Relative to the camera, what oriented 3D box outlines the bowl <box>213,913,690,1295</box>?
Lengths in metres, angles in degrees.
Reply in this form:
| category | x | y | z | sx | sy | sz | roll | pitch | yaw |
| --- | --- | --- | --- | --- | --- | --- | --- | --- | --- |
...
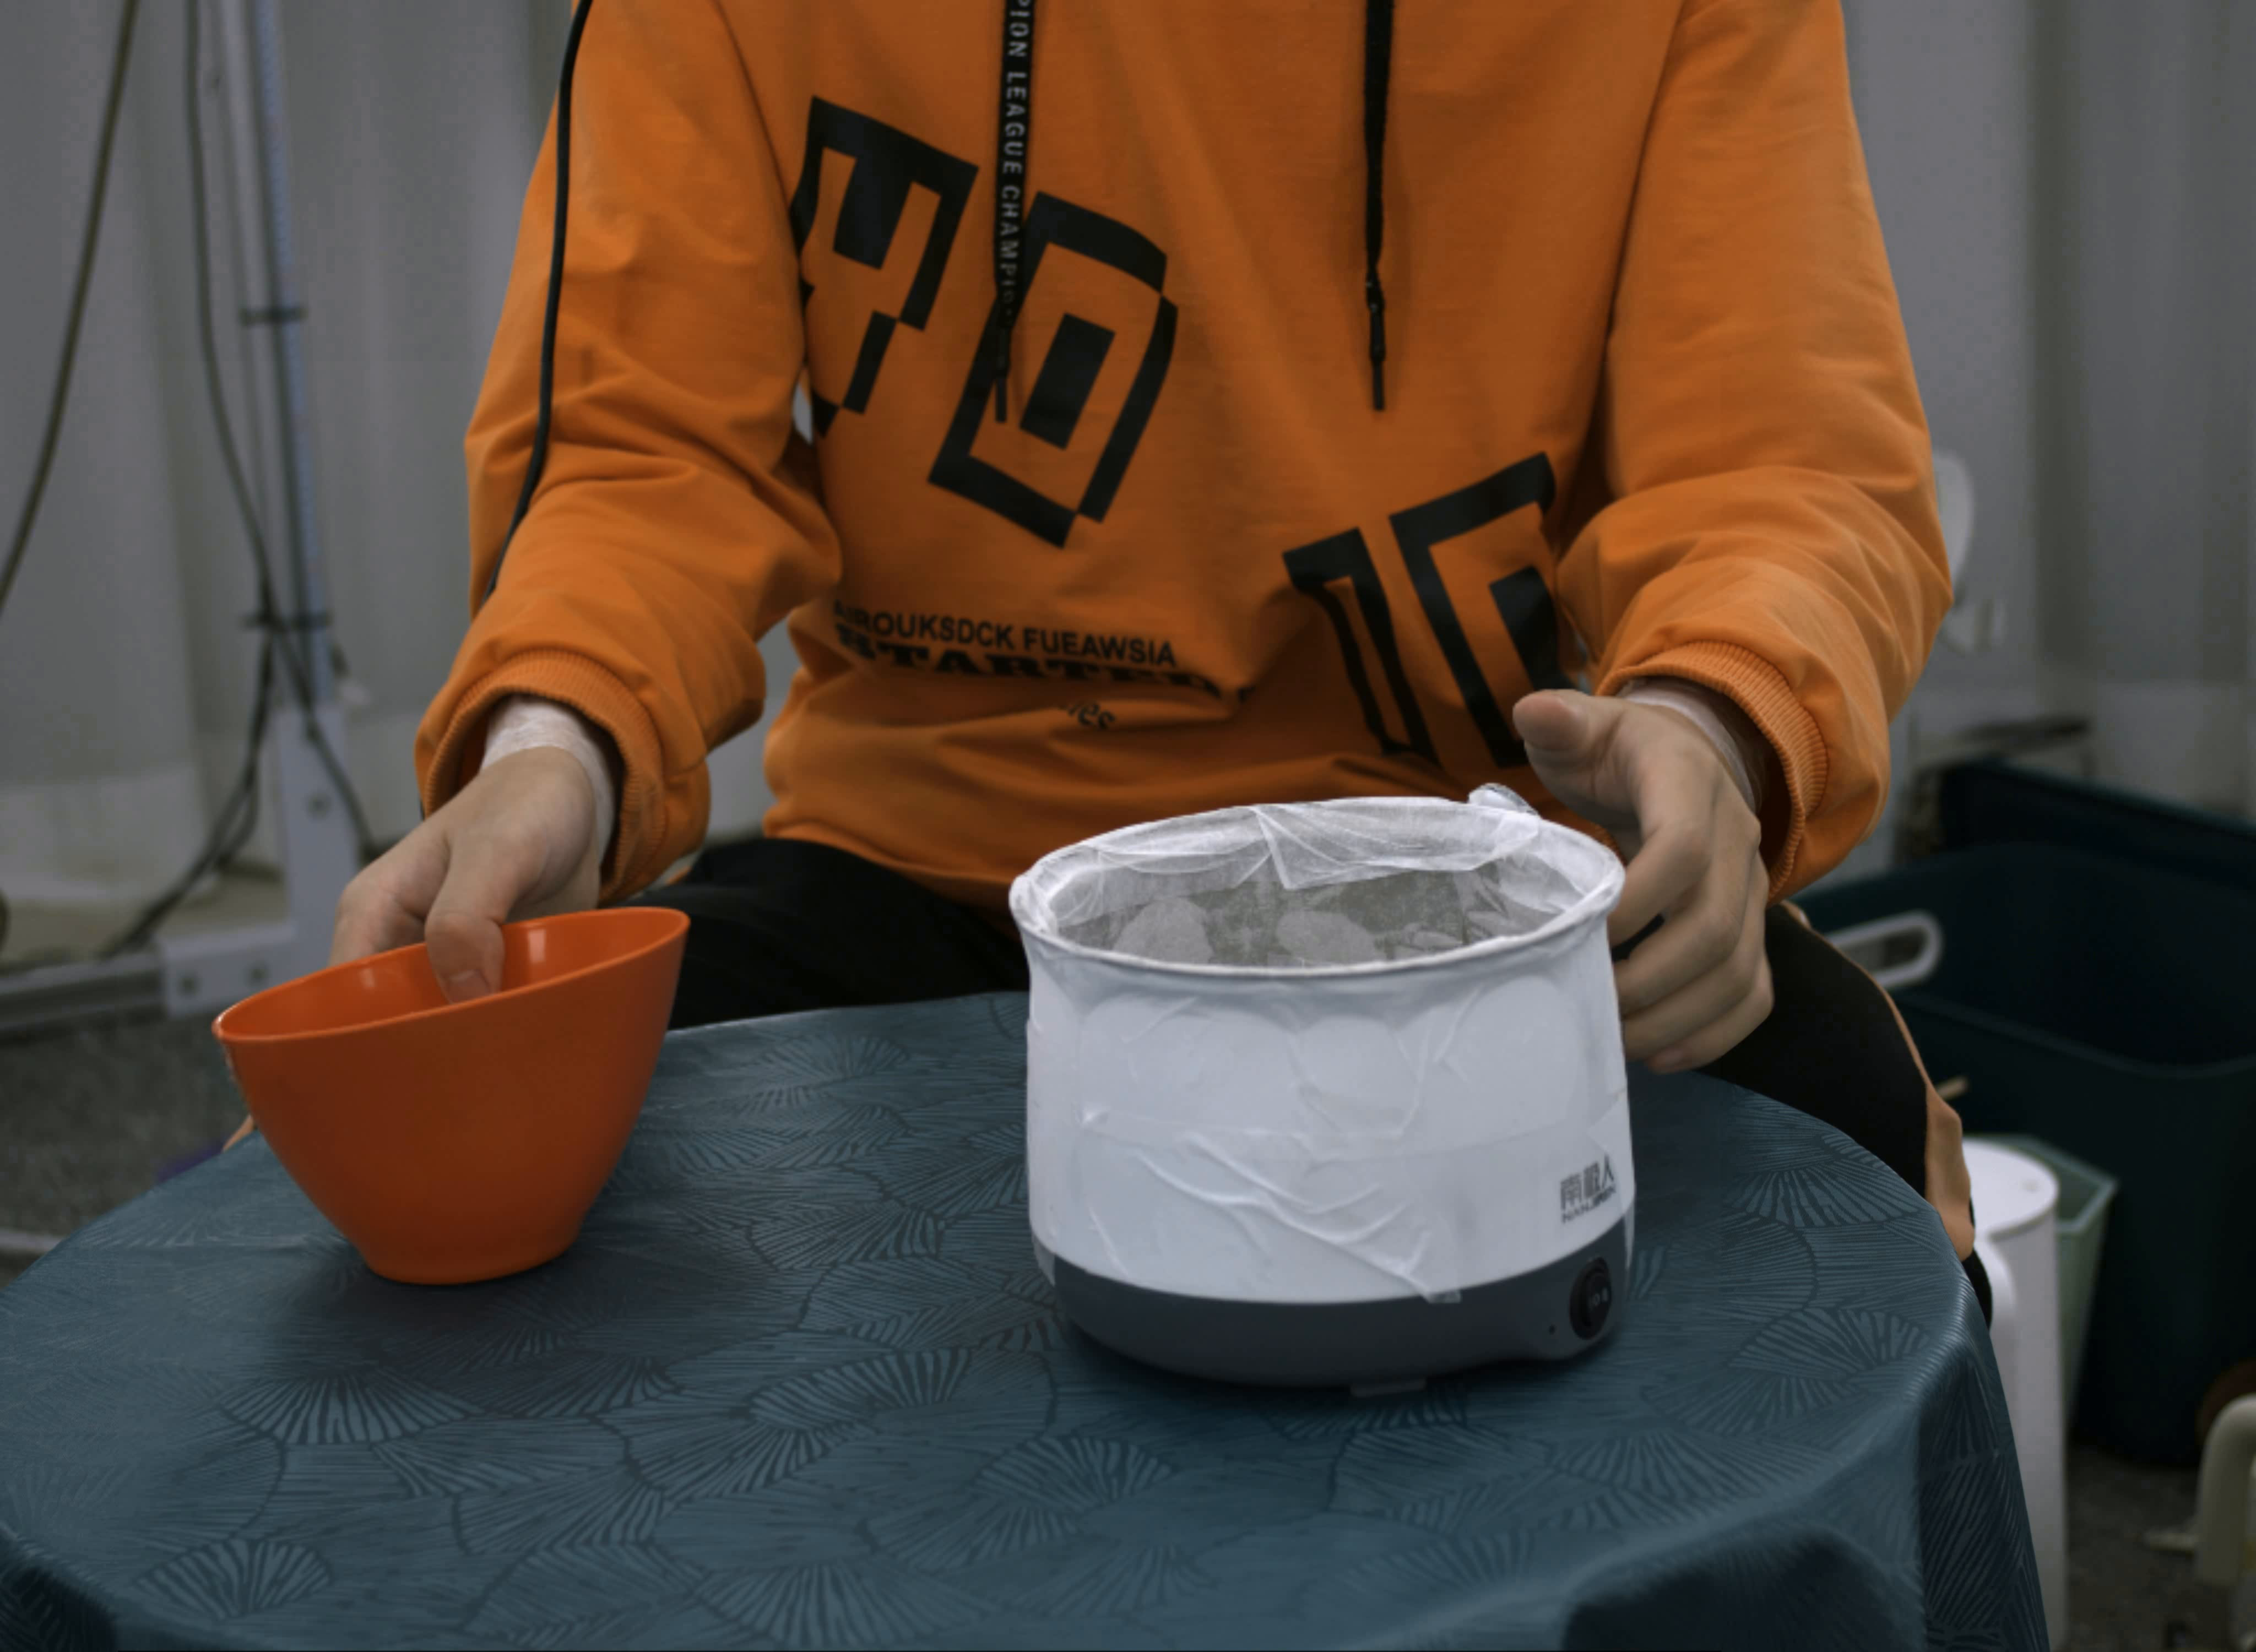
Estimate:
| category | x | y | z | sx | sy | sz | roll | pitch | yaw |
| --- | --- | --- | --- | --- | --- | --- | --- | --- | --- |
| bowl | -0.200 | 0.086 | 1.669 | 0.147 | 0.104 | 0.149 | -6 | 16 | 2 |

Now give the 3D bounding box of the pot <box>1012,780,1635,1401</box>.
| category | x | y | z | sx | sy | sz | roll | pitch | yaw |
| --- | --- | --- | --- | --- | --- | --- | --- | --- | --- |
| pot | 0.072 | 0.070 | 1.604 | 0.179 | 0.136 | 0.234 | 7 | 18 | 32 |
